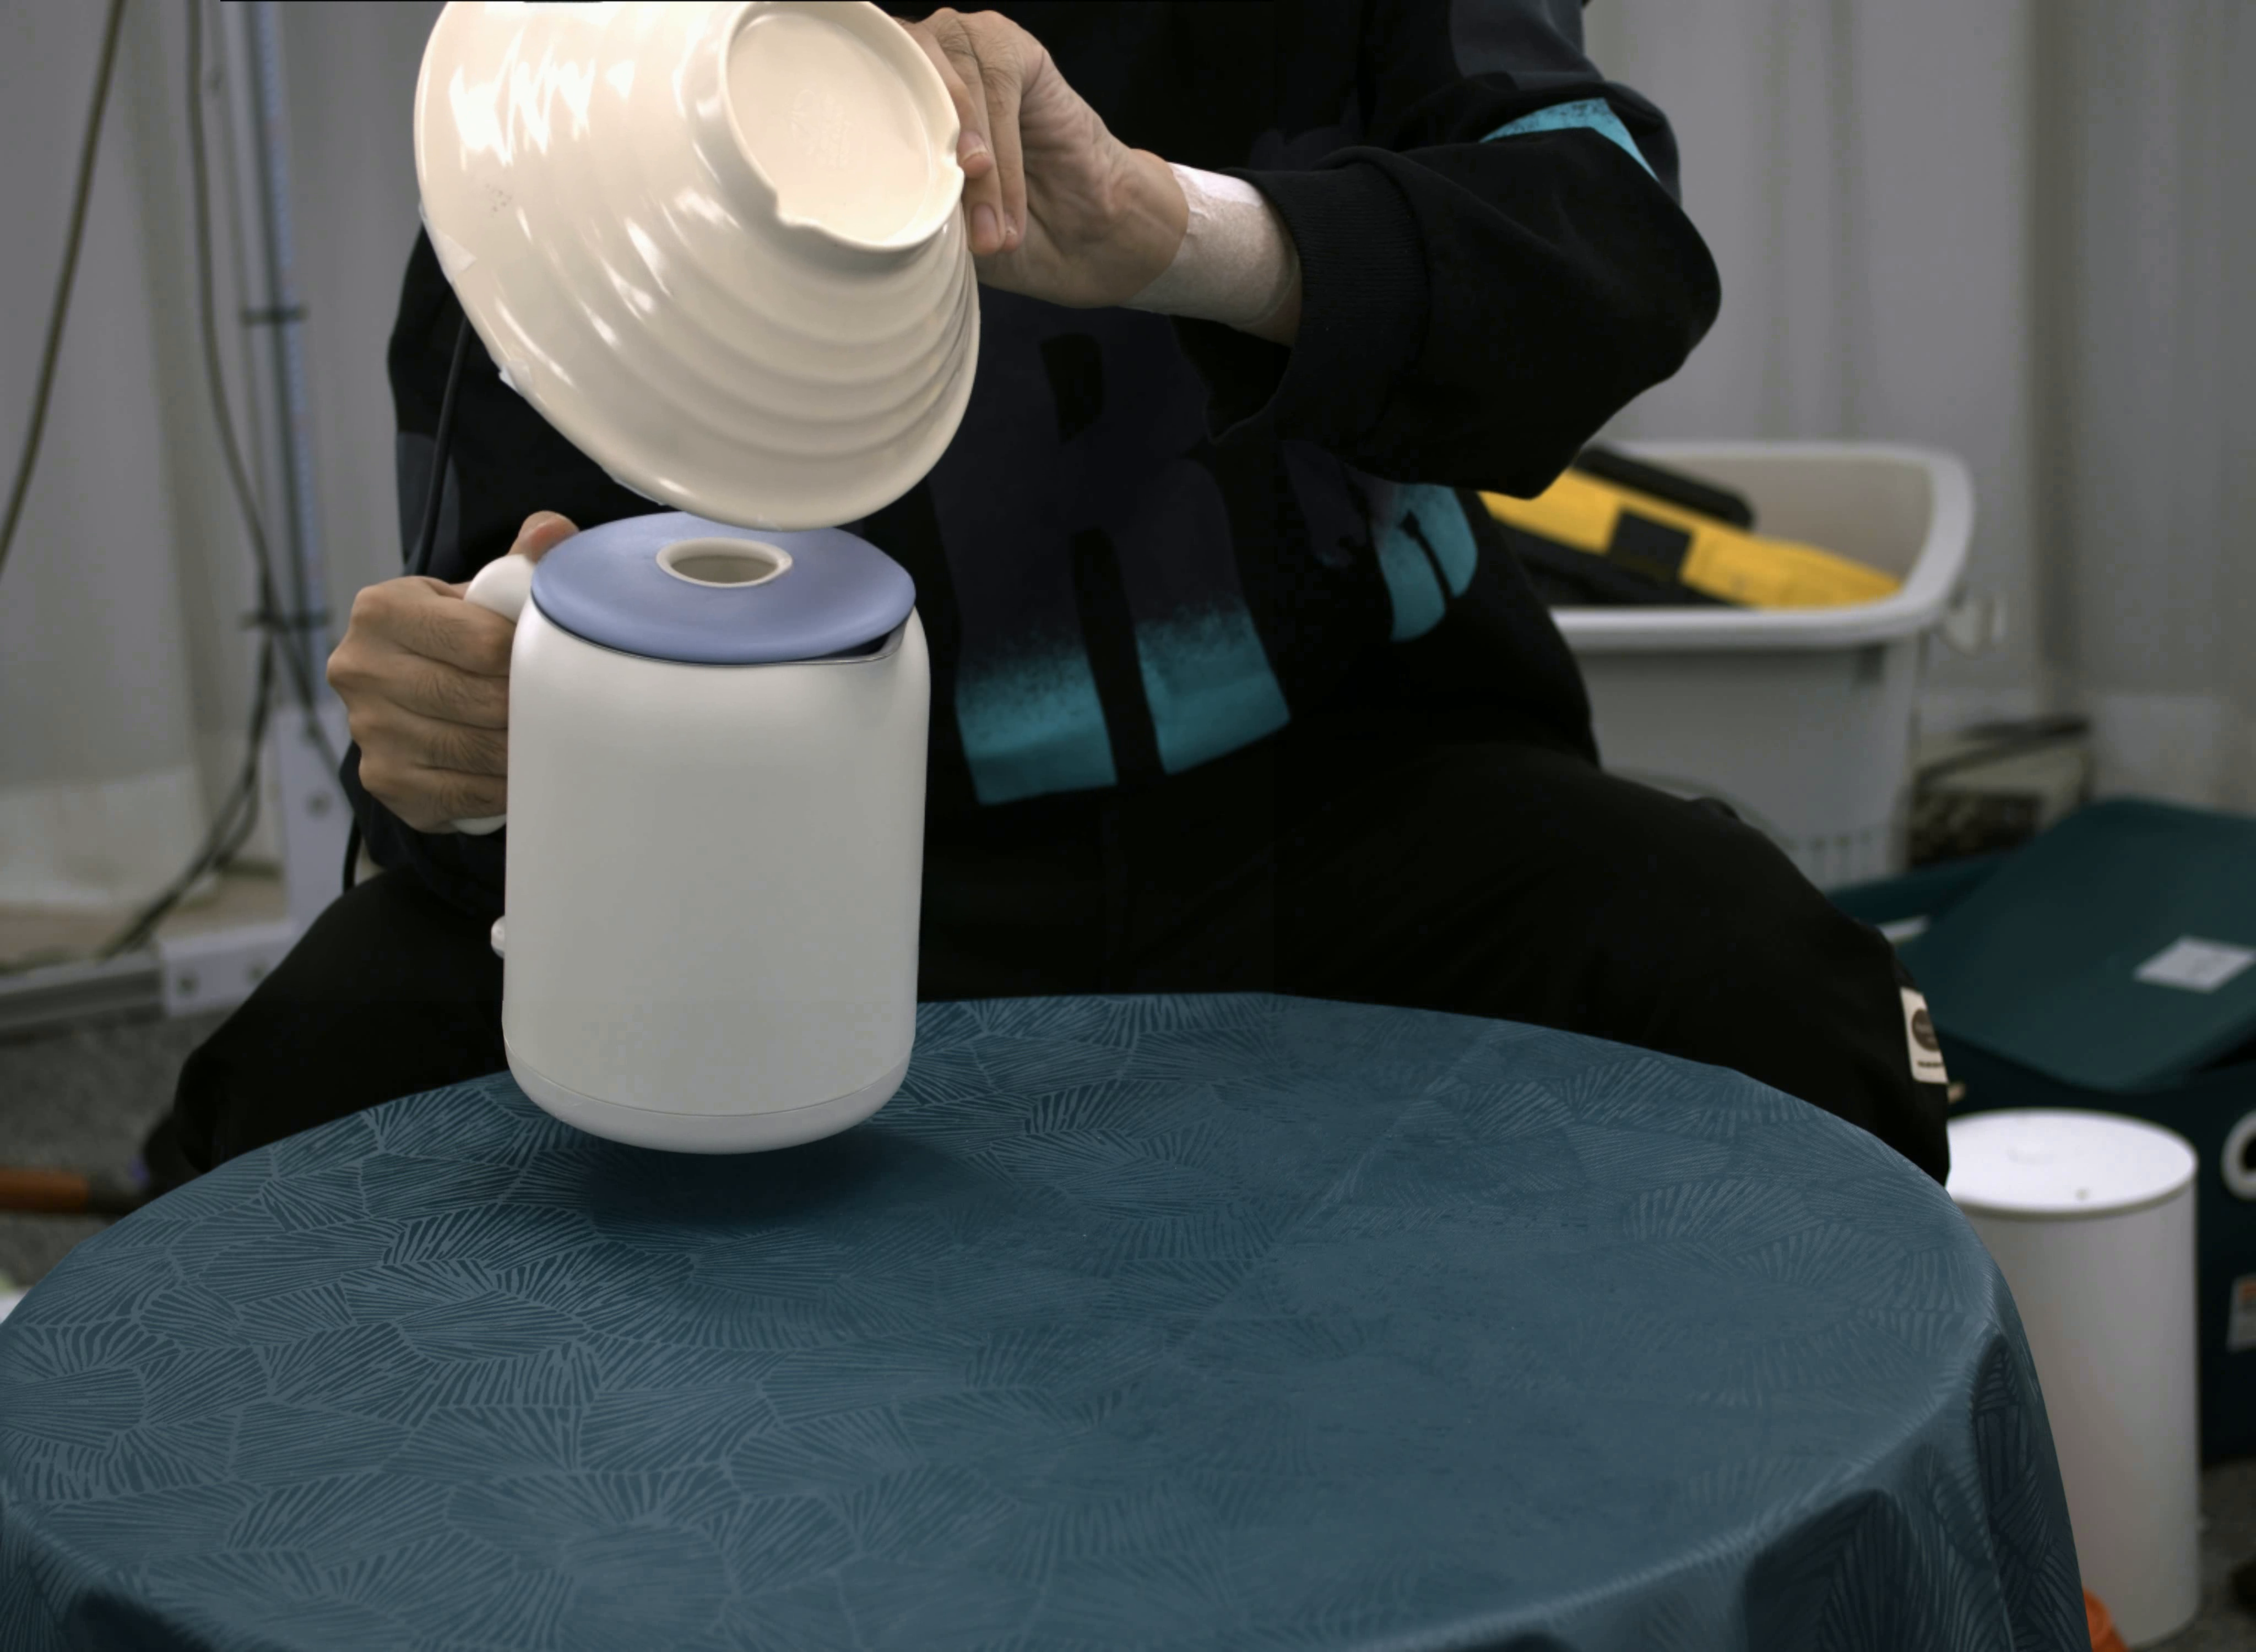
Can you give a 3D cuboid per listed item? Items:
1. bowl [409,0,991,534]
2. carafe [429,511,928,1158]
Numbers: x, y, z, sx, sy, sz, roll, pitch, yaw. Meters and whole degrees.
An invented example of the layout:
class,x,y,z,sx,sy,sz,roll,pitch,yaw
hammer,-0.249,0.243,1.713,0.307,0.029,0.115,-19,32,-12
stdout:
class,x,y,z,sx,sy,sz,roll,pitch,yaw
bowl,-0.106,-0.195,1.624,0.203,0.205,0.077,-15,-11,-41
carafe,-0.148,-0.005,1.728,0.192,0.181,0.132,17,24,36
